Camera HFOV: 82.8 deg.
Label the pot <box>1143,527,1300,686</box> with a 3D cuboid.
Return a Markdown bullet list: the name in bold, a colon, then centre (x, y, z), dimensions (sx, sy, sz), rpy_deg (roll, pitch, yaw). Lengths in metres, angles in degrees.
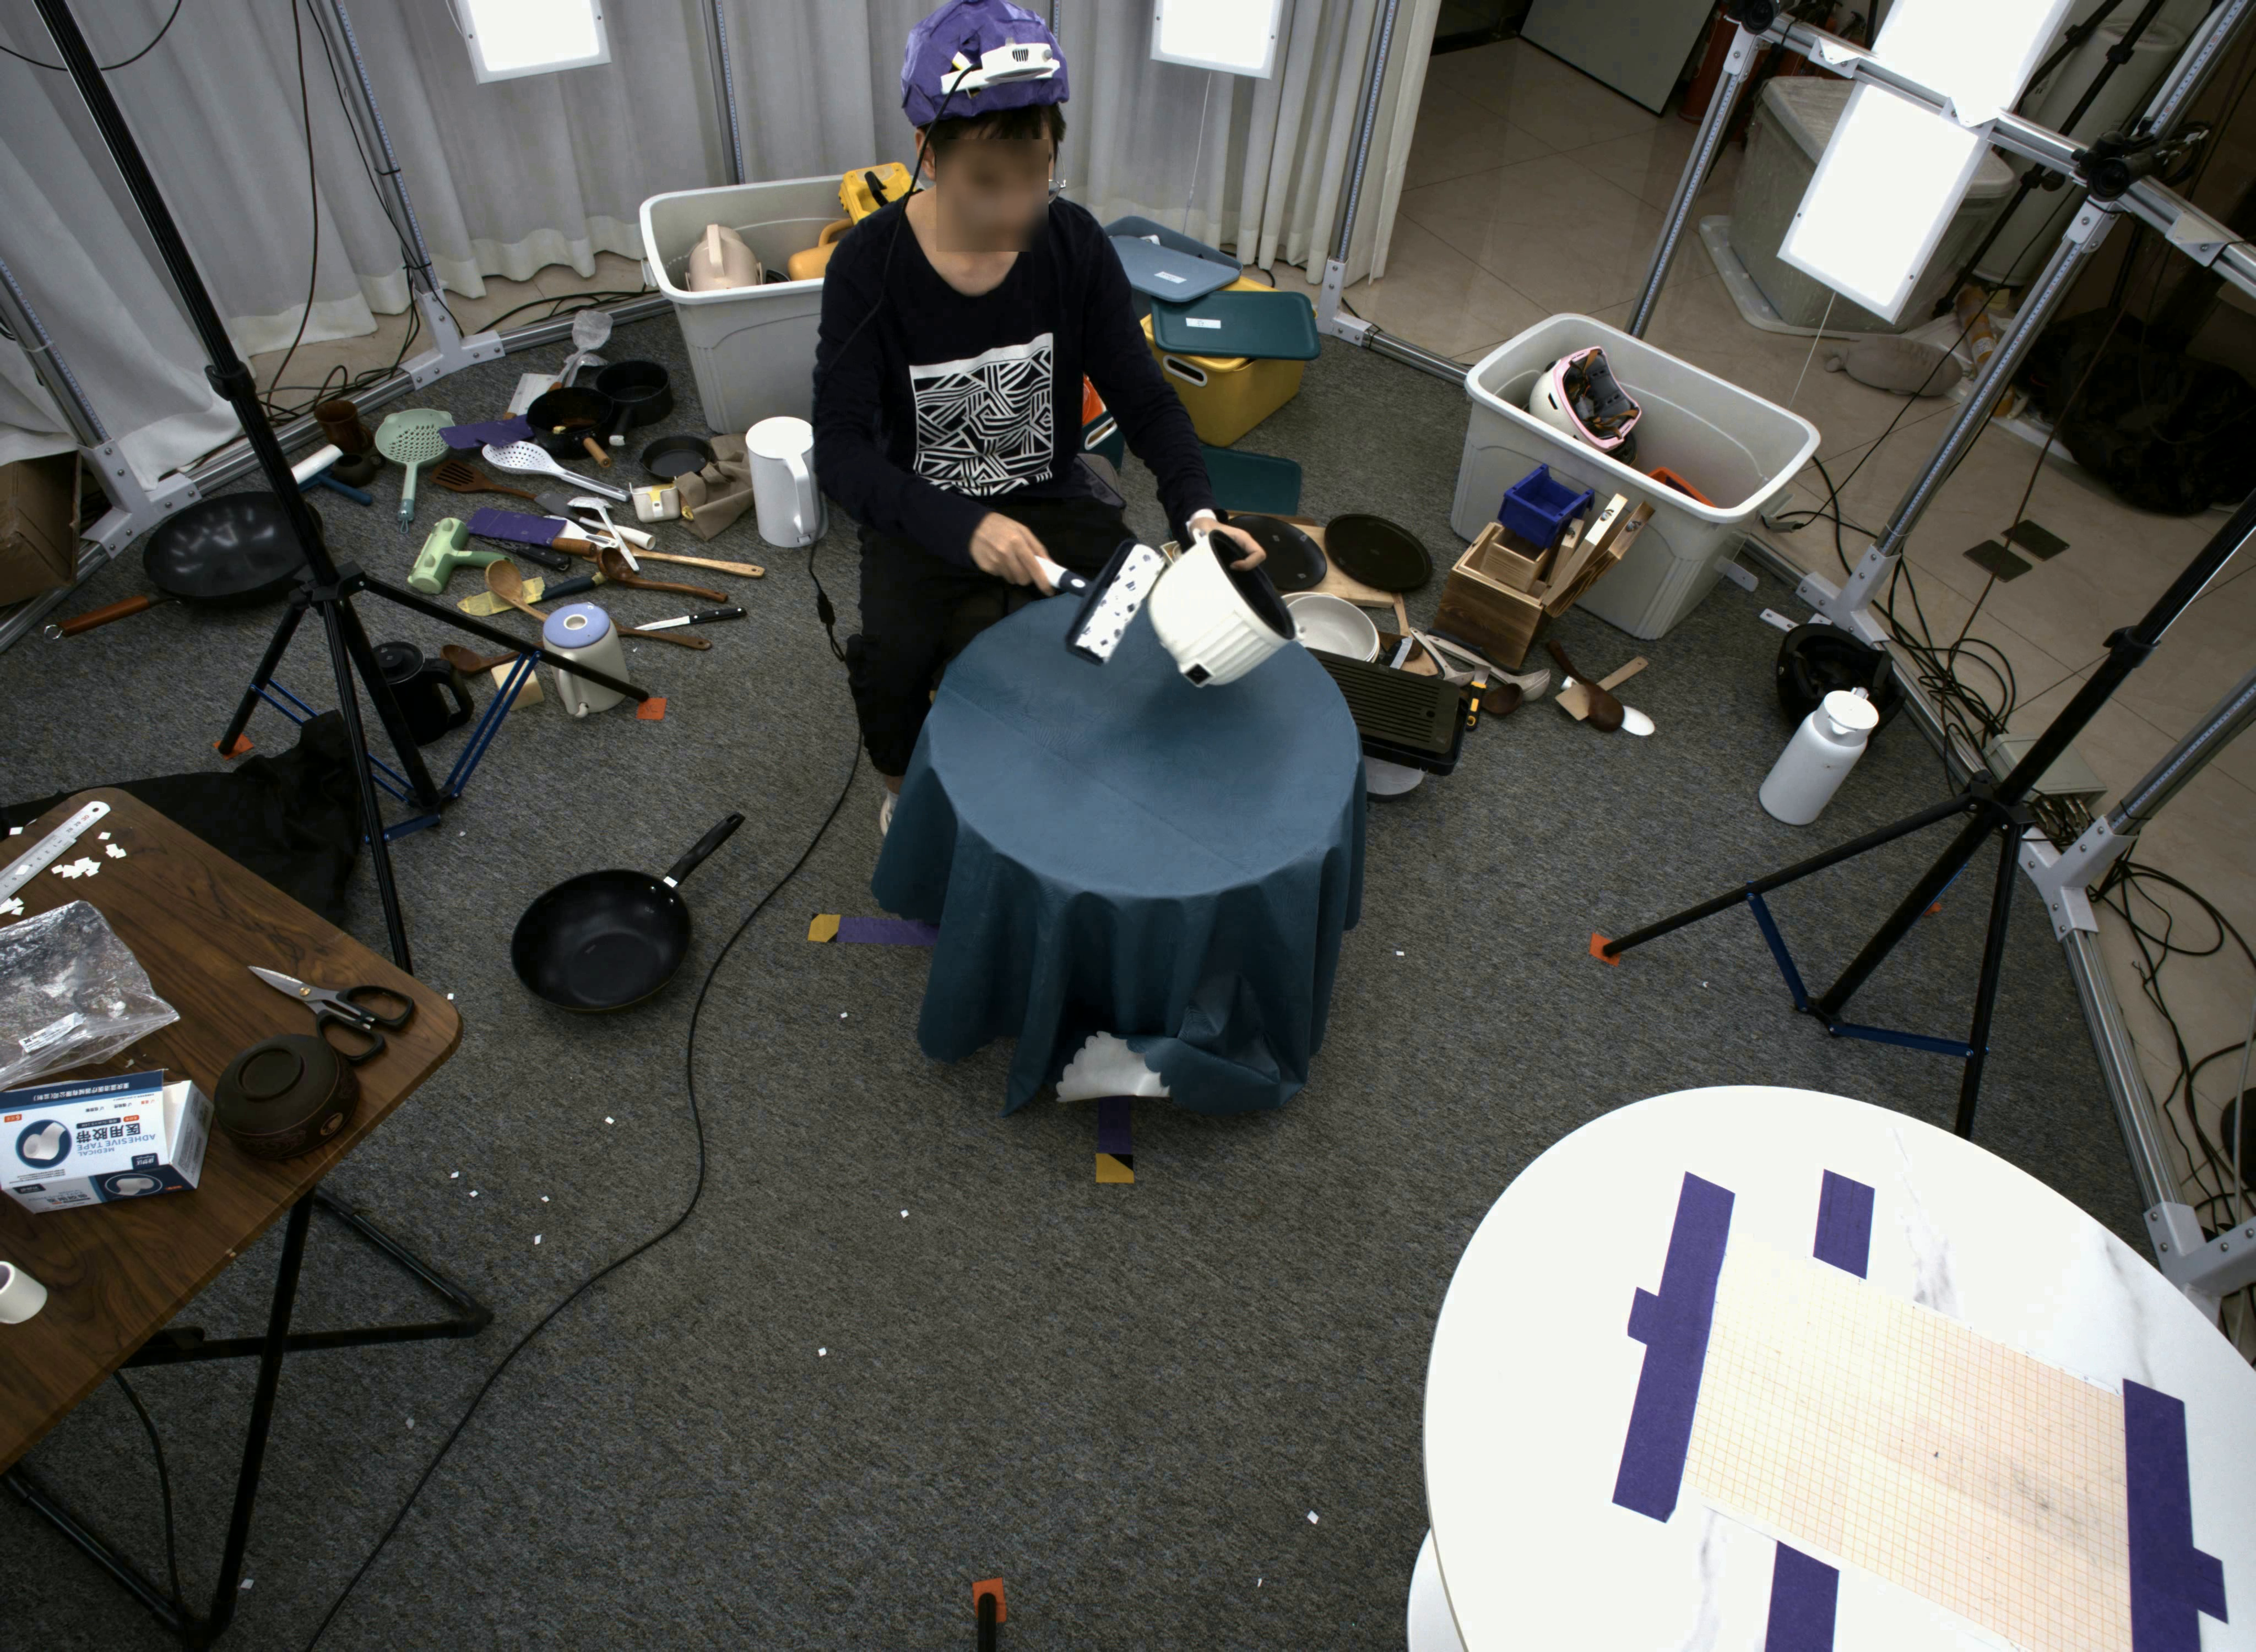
- **pot**: centre (0.113, -0.294, 1.738), dimensions (0.141, 0.236, 0.195), rpy_deg (-32, 40, 25)

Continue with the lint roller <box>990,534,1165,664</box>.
- **lint roller**: centre (-0.091, -0.336, 1.735), dimensions (0.250, 0.049, 0.177), rpy_deg (26, 83, 25)
